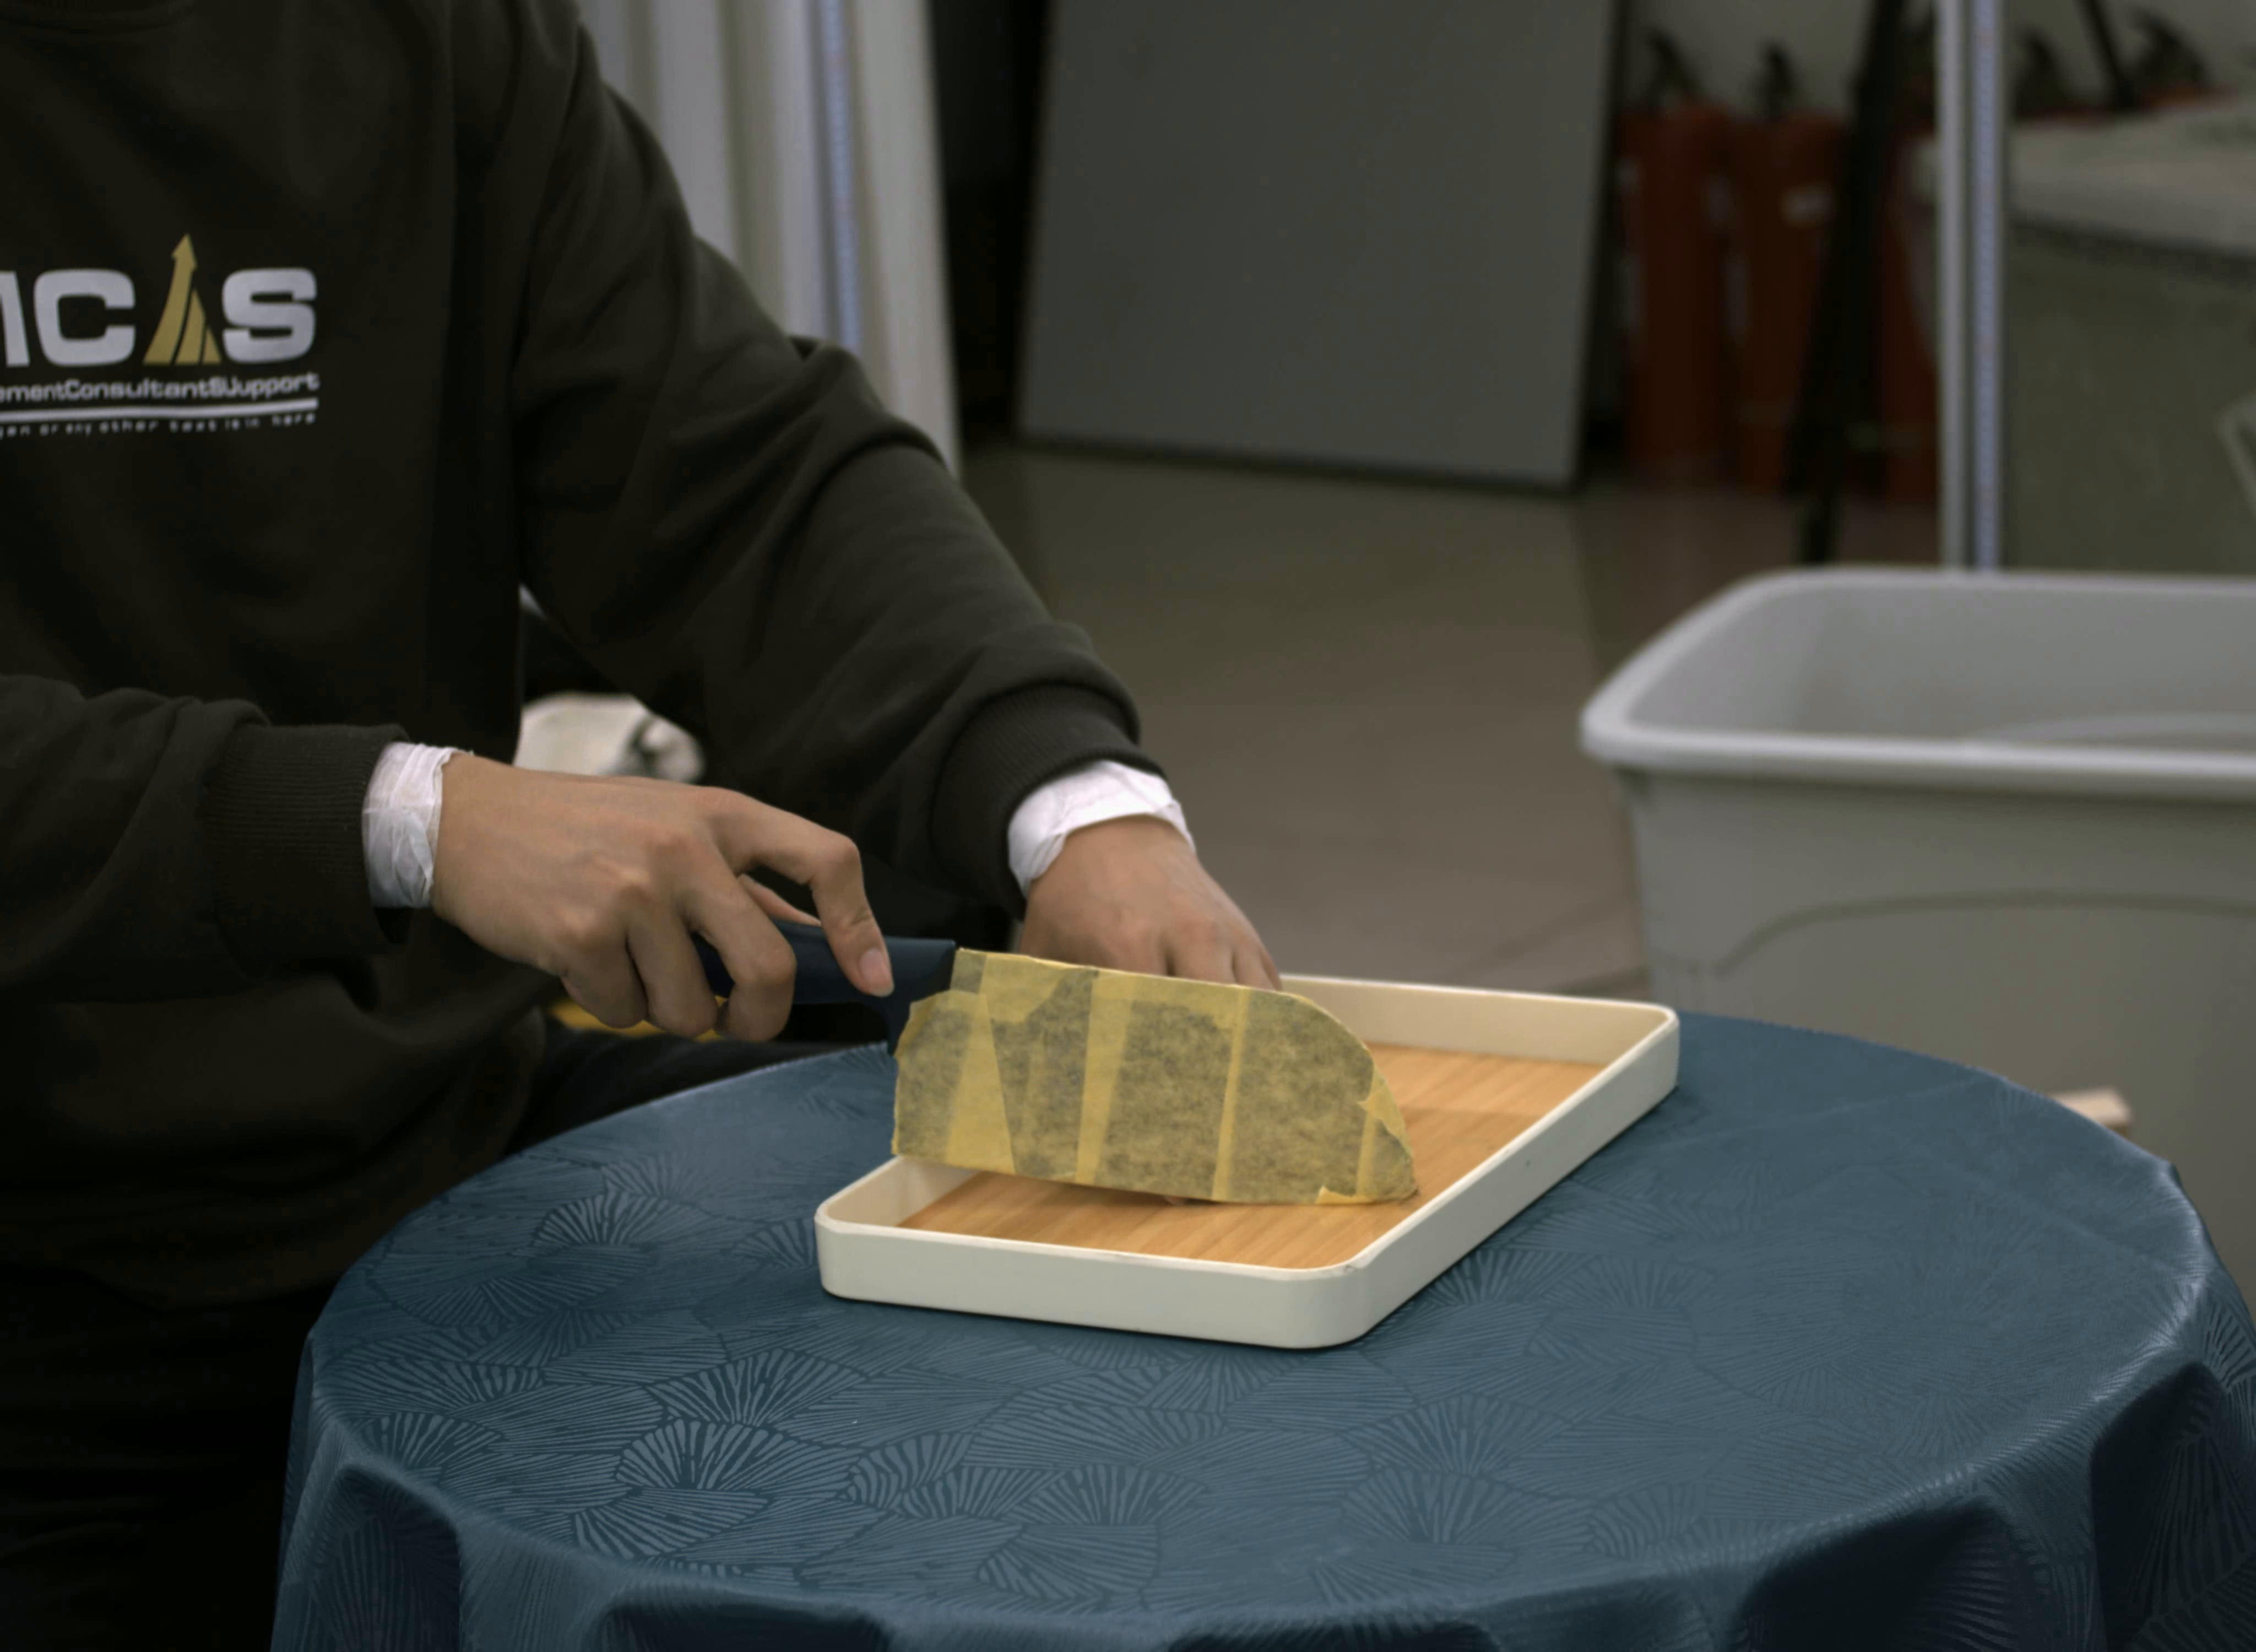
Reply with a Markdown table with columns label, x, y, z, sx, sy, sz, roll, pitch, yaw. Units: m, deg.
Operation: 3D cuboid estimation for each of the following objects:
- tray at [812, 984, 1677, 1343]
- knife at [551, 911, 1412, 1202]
| label | x | y | z | sx | sy | sz | roll | pitch | yaw |
| --- | --- | --- | --- | --- | --- | --- | --- | --- | --- |
| tray | 0.045 | 0.106 | 1.768 | 0.192 | 0.028 | 0.296 | 2 | 14 | 28 |
| knife | -0.048 | 0.073 | 1.735 | 0.287 | 0.082 | 0.027 | 11 | 9 | 8 |
